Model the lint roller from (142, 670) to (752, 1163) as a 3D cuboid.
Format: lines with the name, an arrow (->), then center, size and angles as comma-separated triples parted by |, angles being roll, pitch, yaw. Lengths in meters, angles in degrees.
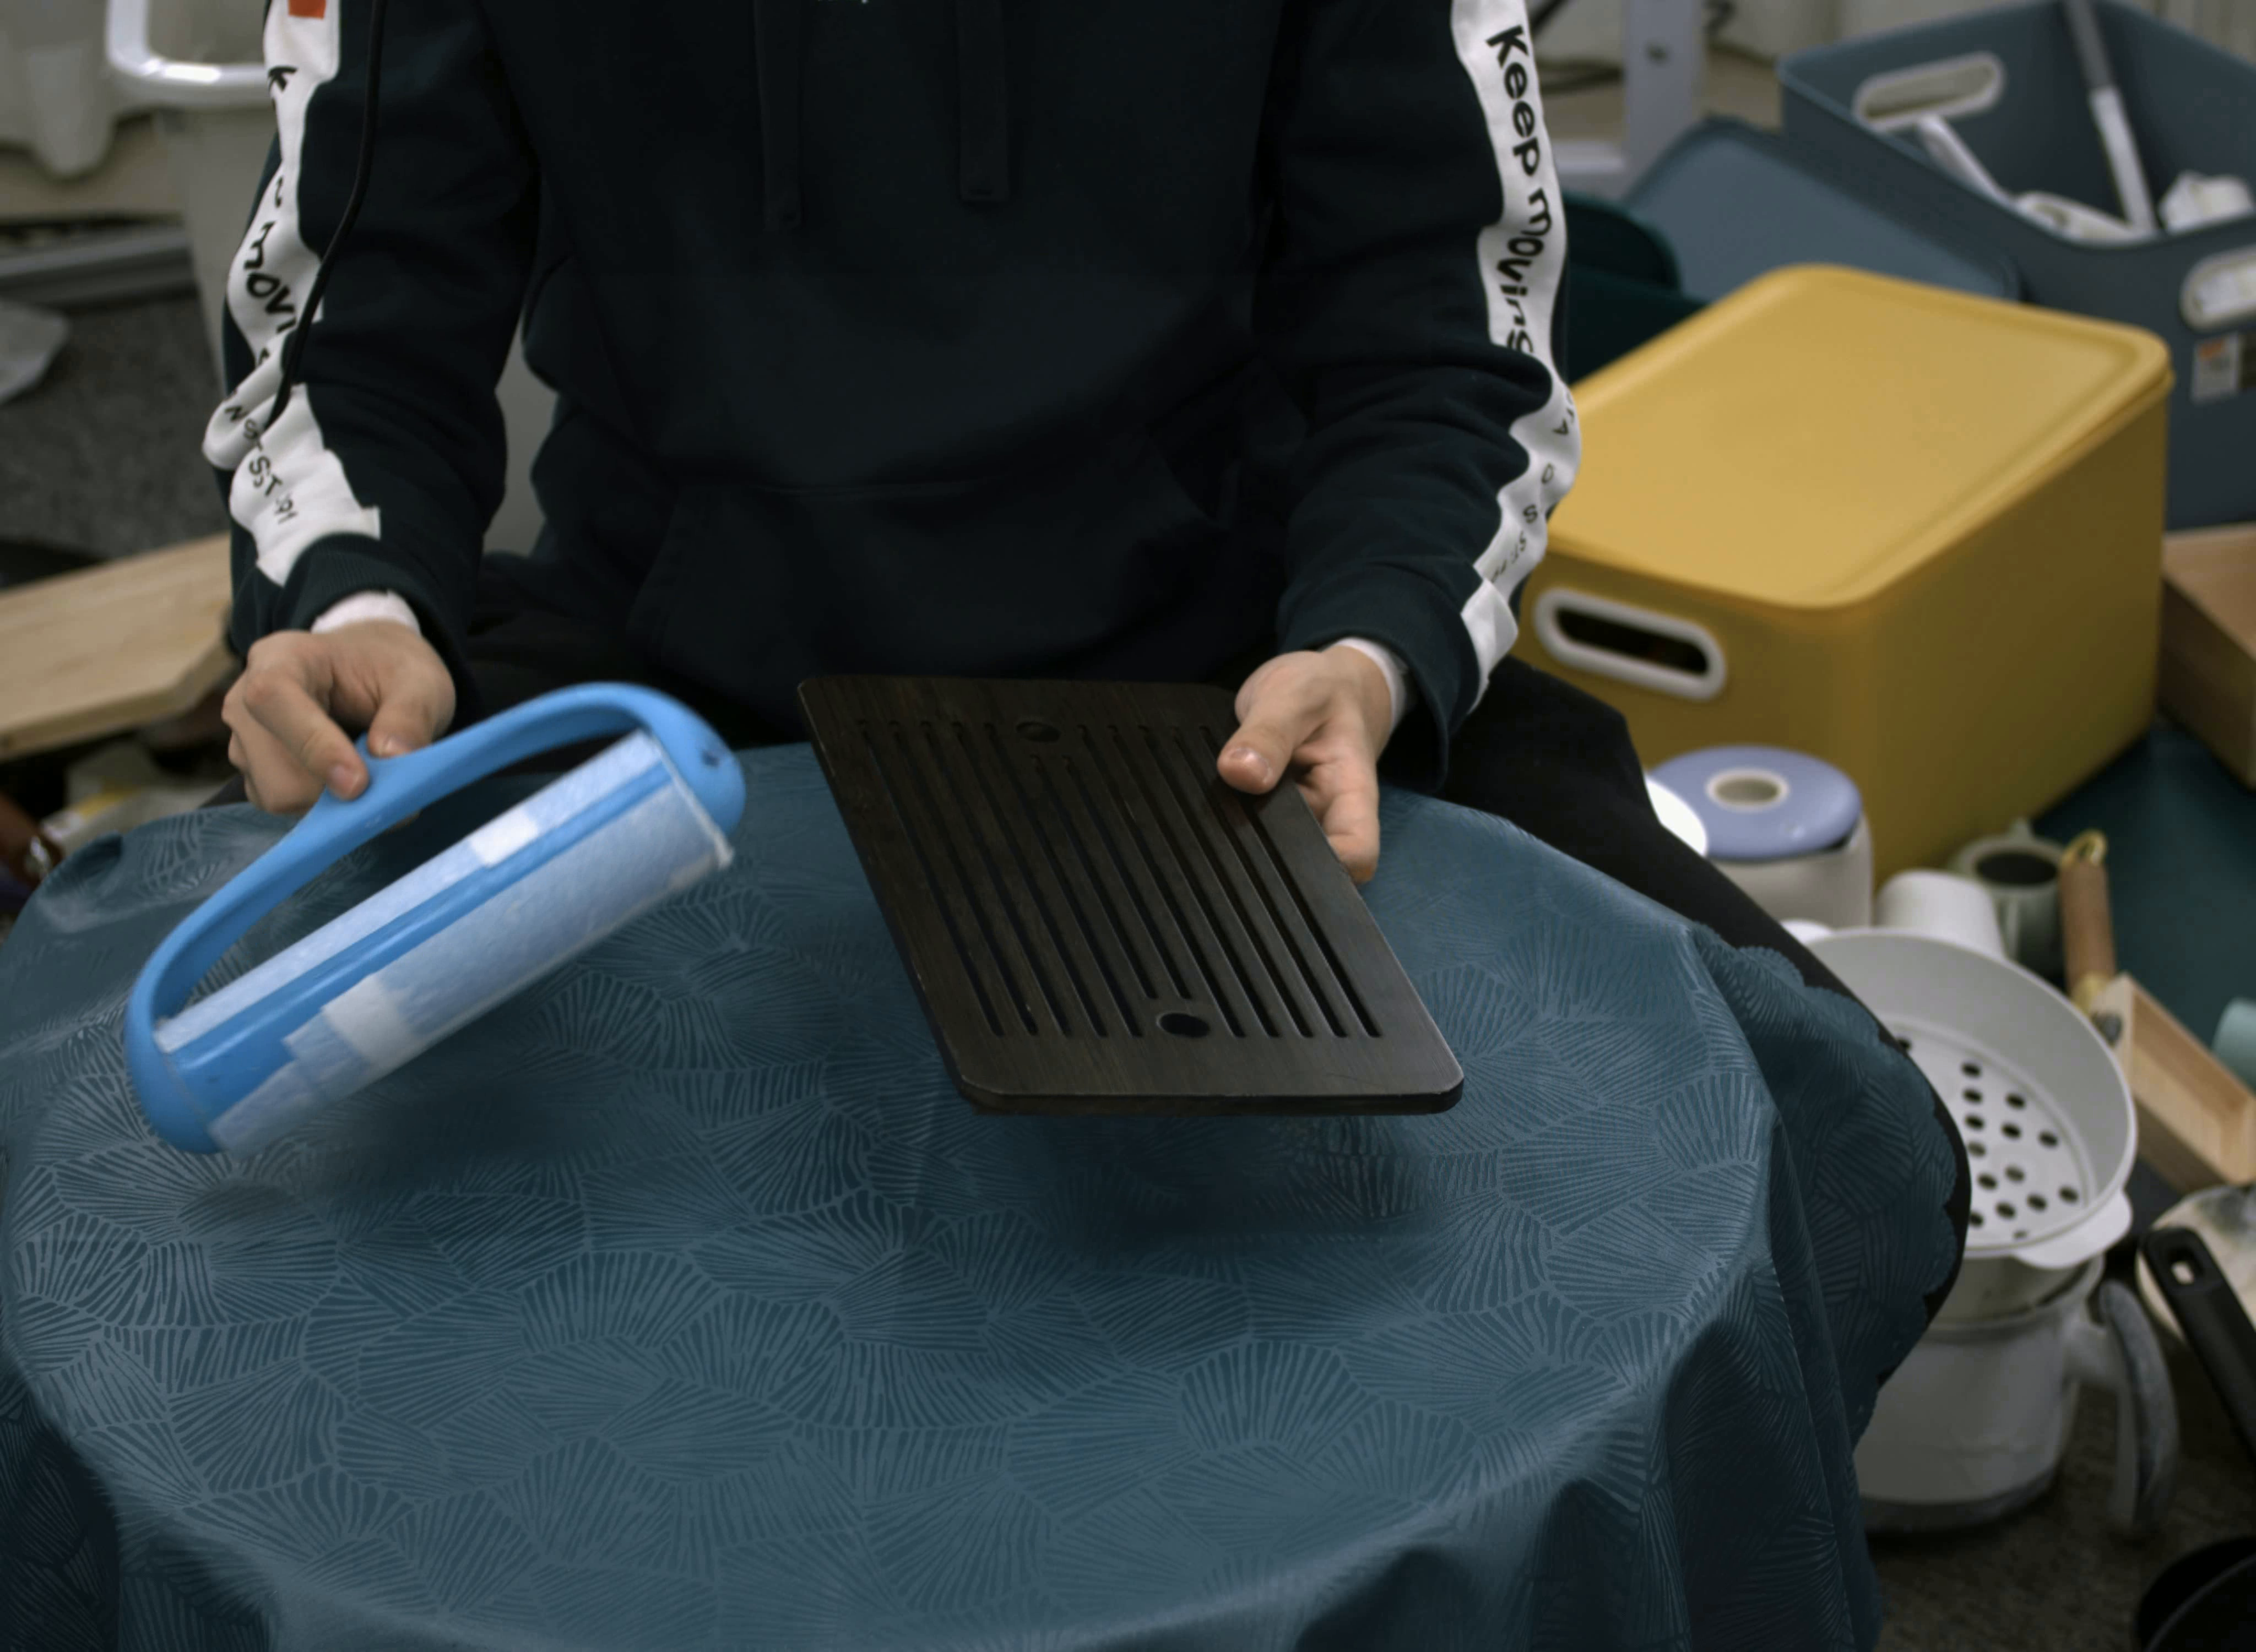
lint roller -> -0.249, 0.007, 1.917 | 0.229, 0.067, 0.182 | -37, 39, -5

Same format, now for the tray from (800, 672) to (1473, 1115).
tray -> -0.004, 0.022, 1.921 | 0.170, 0.018, 0.309 | 2, 26, -16
